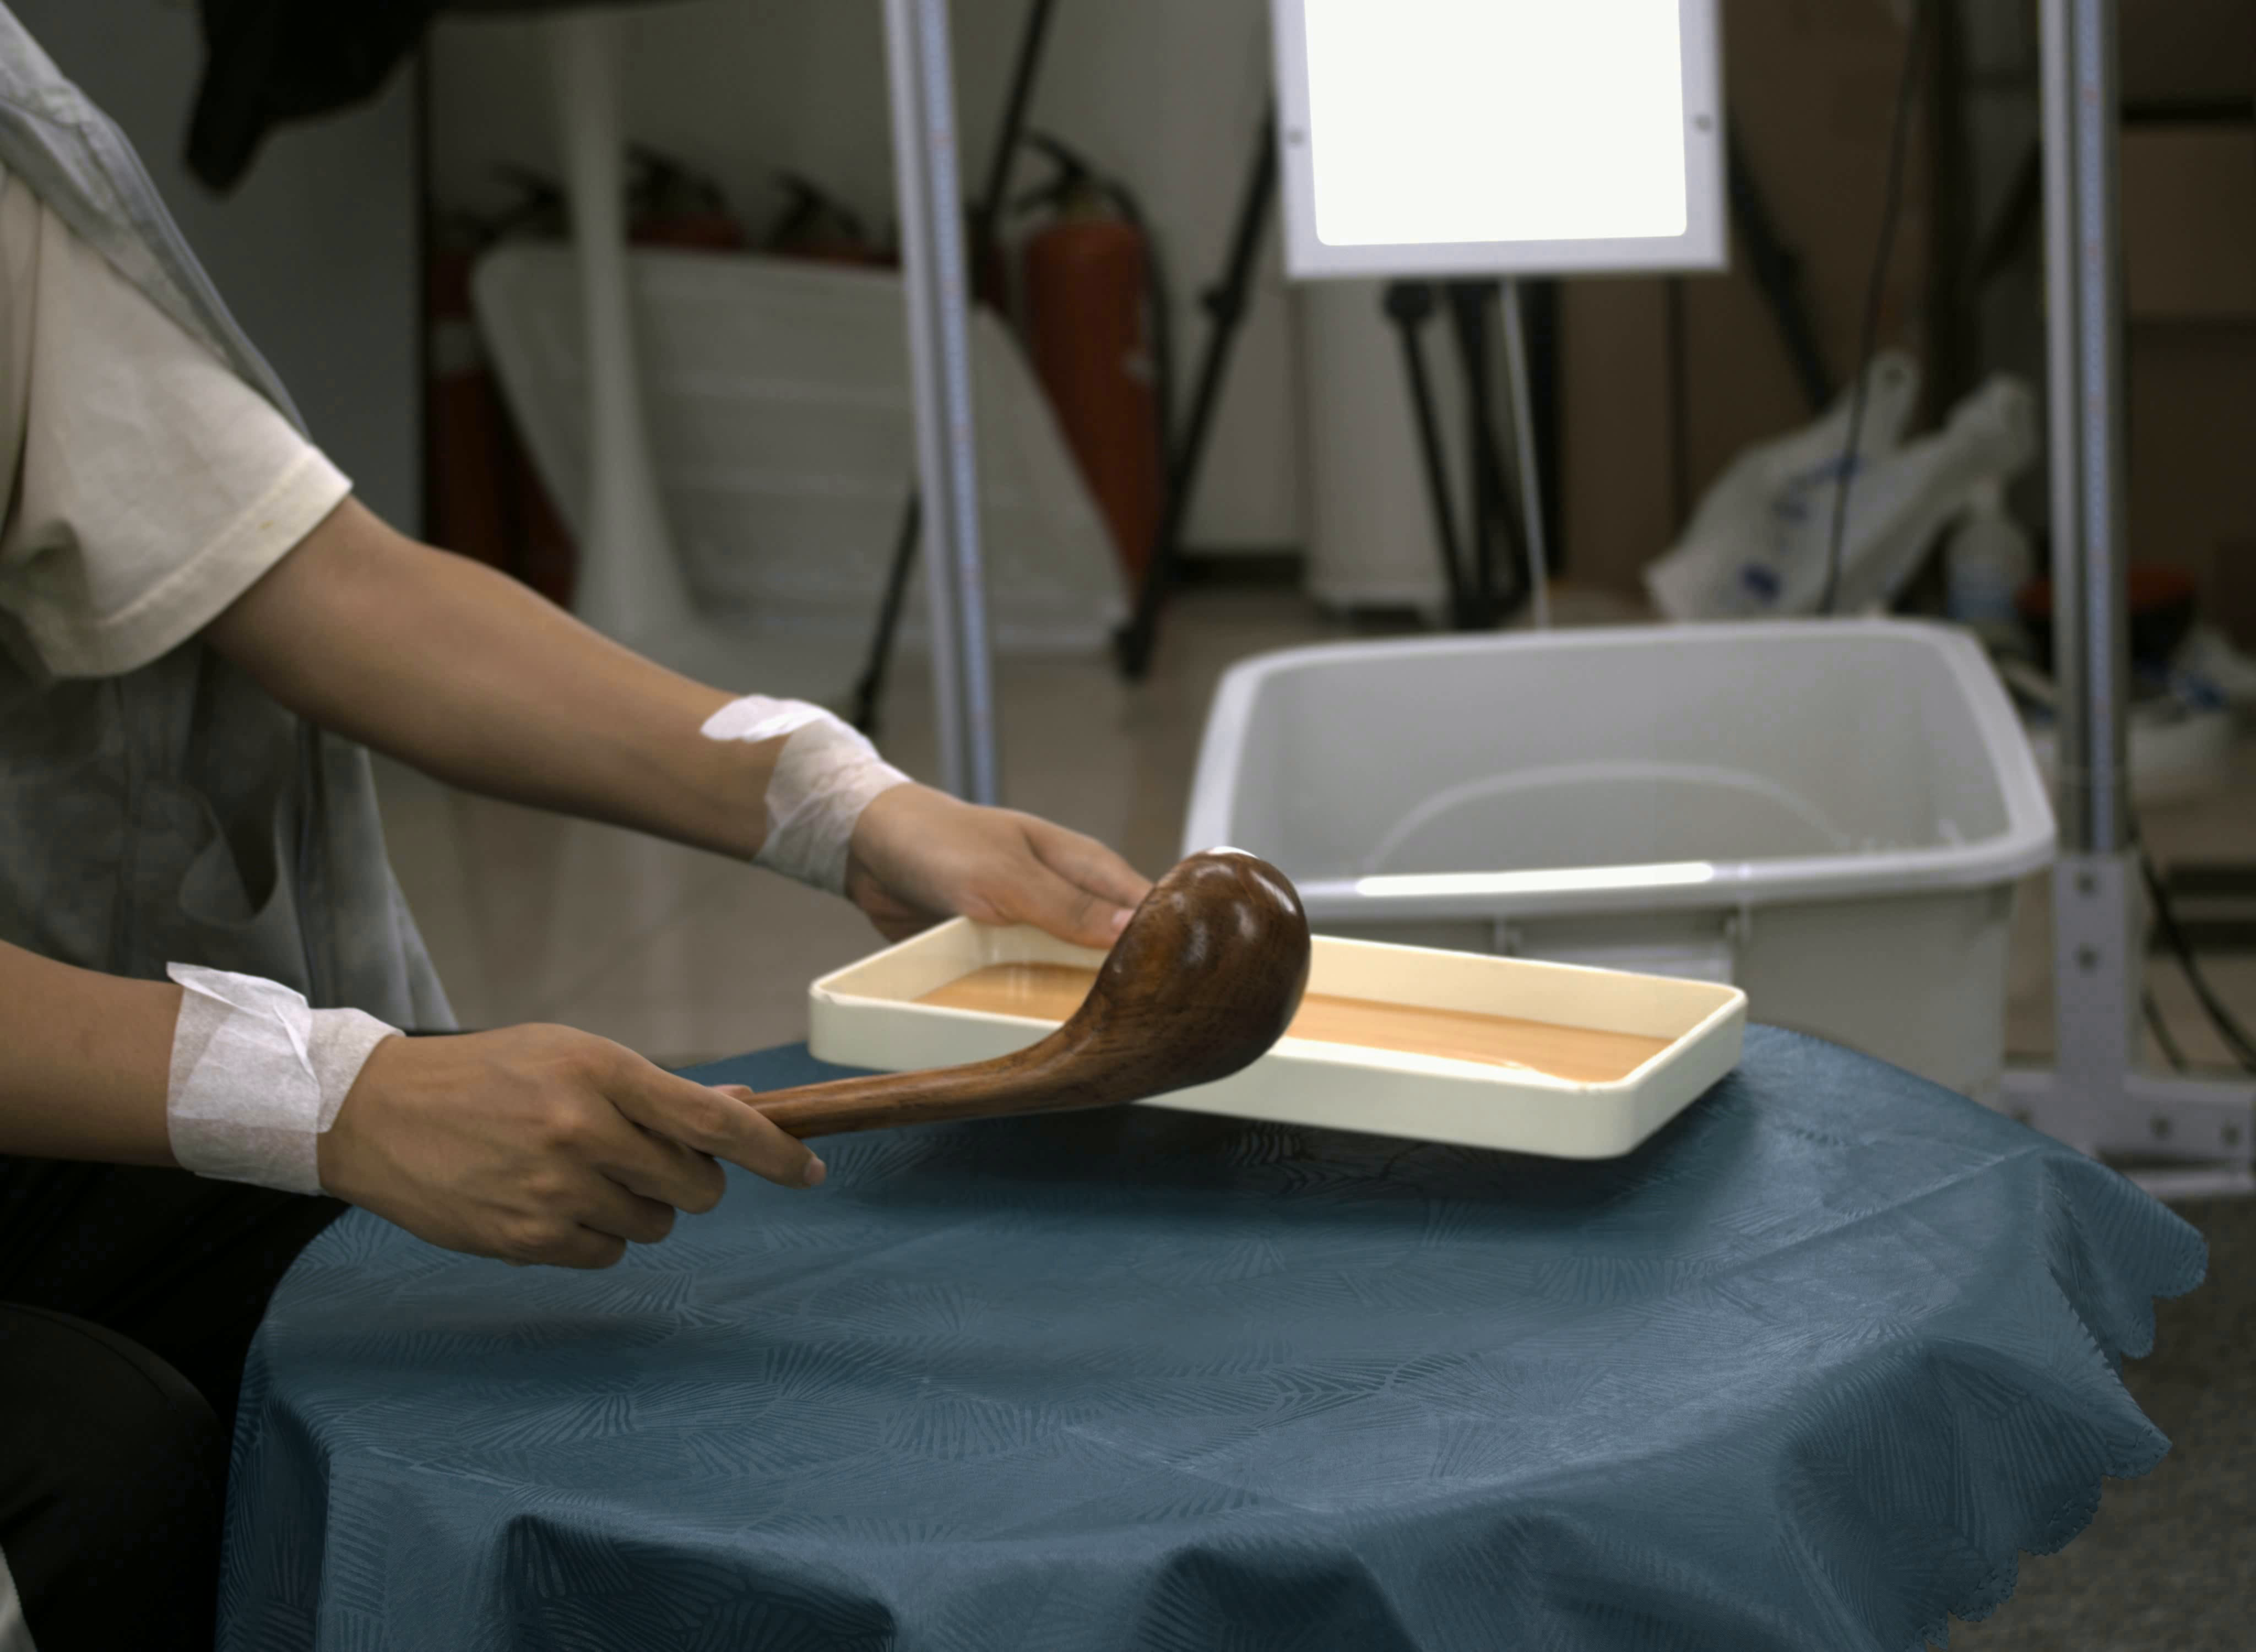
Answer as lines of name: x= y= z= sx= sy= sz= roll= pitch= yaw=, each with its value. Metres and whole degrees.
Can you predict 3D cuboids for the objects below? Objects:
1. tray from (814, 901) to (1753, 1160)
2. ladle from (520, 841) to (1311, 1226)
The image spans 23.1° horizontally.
tray: x=0.057 y=0.070 z=1.949 sx=0.304 sy=0.027 sz=0.188 roll=6 pitch=12 yaw=22
ladle: x=-0.071 y=0.067 z=1.775 sx=0.278 sy=0.081 sz=0.076 roll=-13 pitch=46 yaw=23
